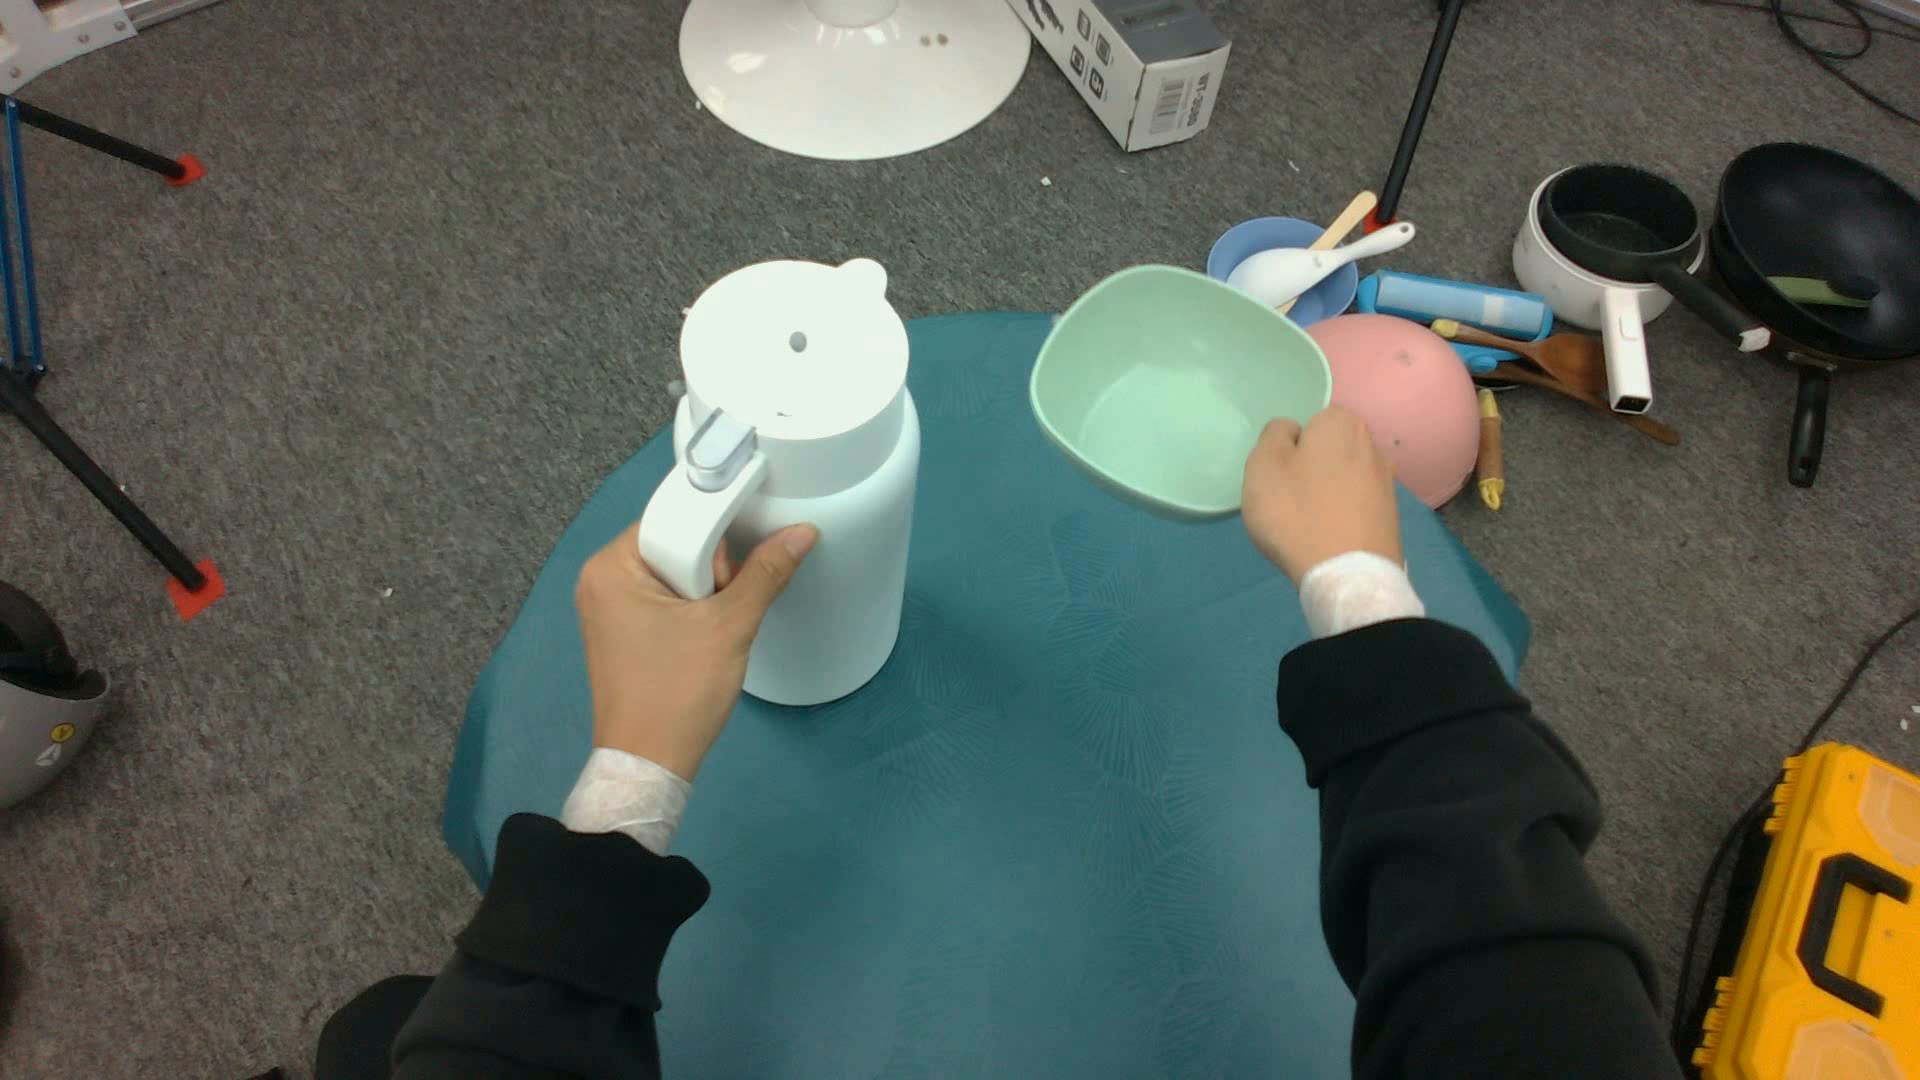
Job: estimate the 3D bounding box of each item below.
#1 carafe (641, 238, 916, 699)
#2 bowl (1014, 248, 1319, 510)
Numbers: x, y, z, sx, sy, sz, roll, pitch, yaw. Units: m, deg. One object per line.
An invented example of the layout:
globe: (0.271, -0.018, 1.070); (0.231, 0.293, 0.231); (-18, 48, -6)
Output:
carafe: (-0.093, -0.009, 0.701); (0.124, 0.267, 0.173); (28, 60, 7)
bowl: (0.099, -0.071, 0.687); (0.151, 0.058, 0.152); (2, 59, -3)
